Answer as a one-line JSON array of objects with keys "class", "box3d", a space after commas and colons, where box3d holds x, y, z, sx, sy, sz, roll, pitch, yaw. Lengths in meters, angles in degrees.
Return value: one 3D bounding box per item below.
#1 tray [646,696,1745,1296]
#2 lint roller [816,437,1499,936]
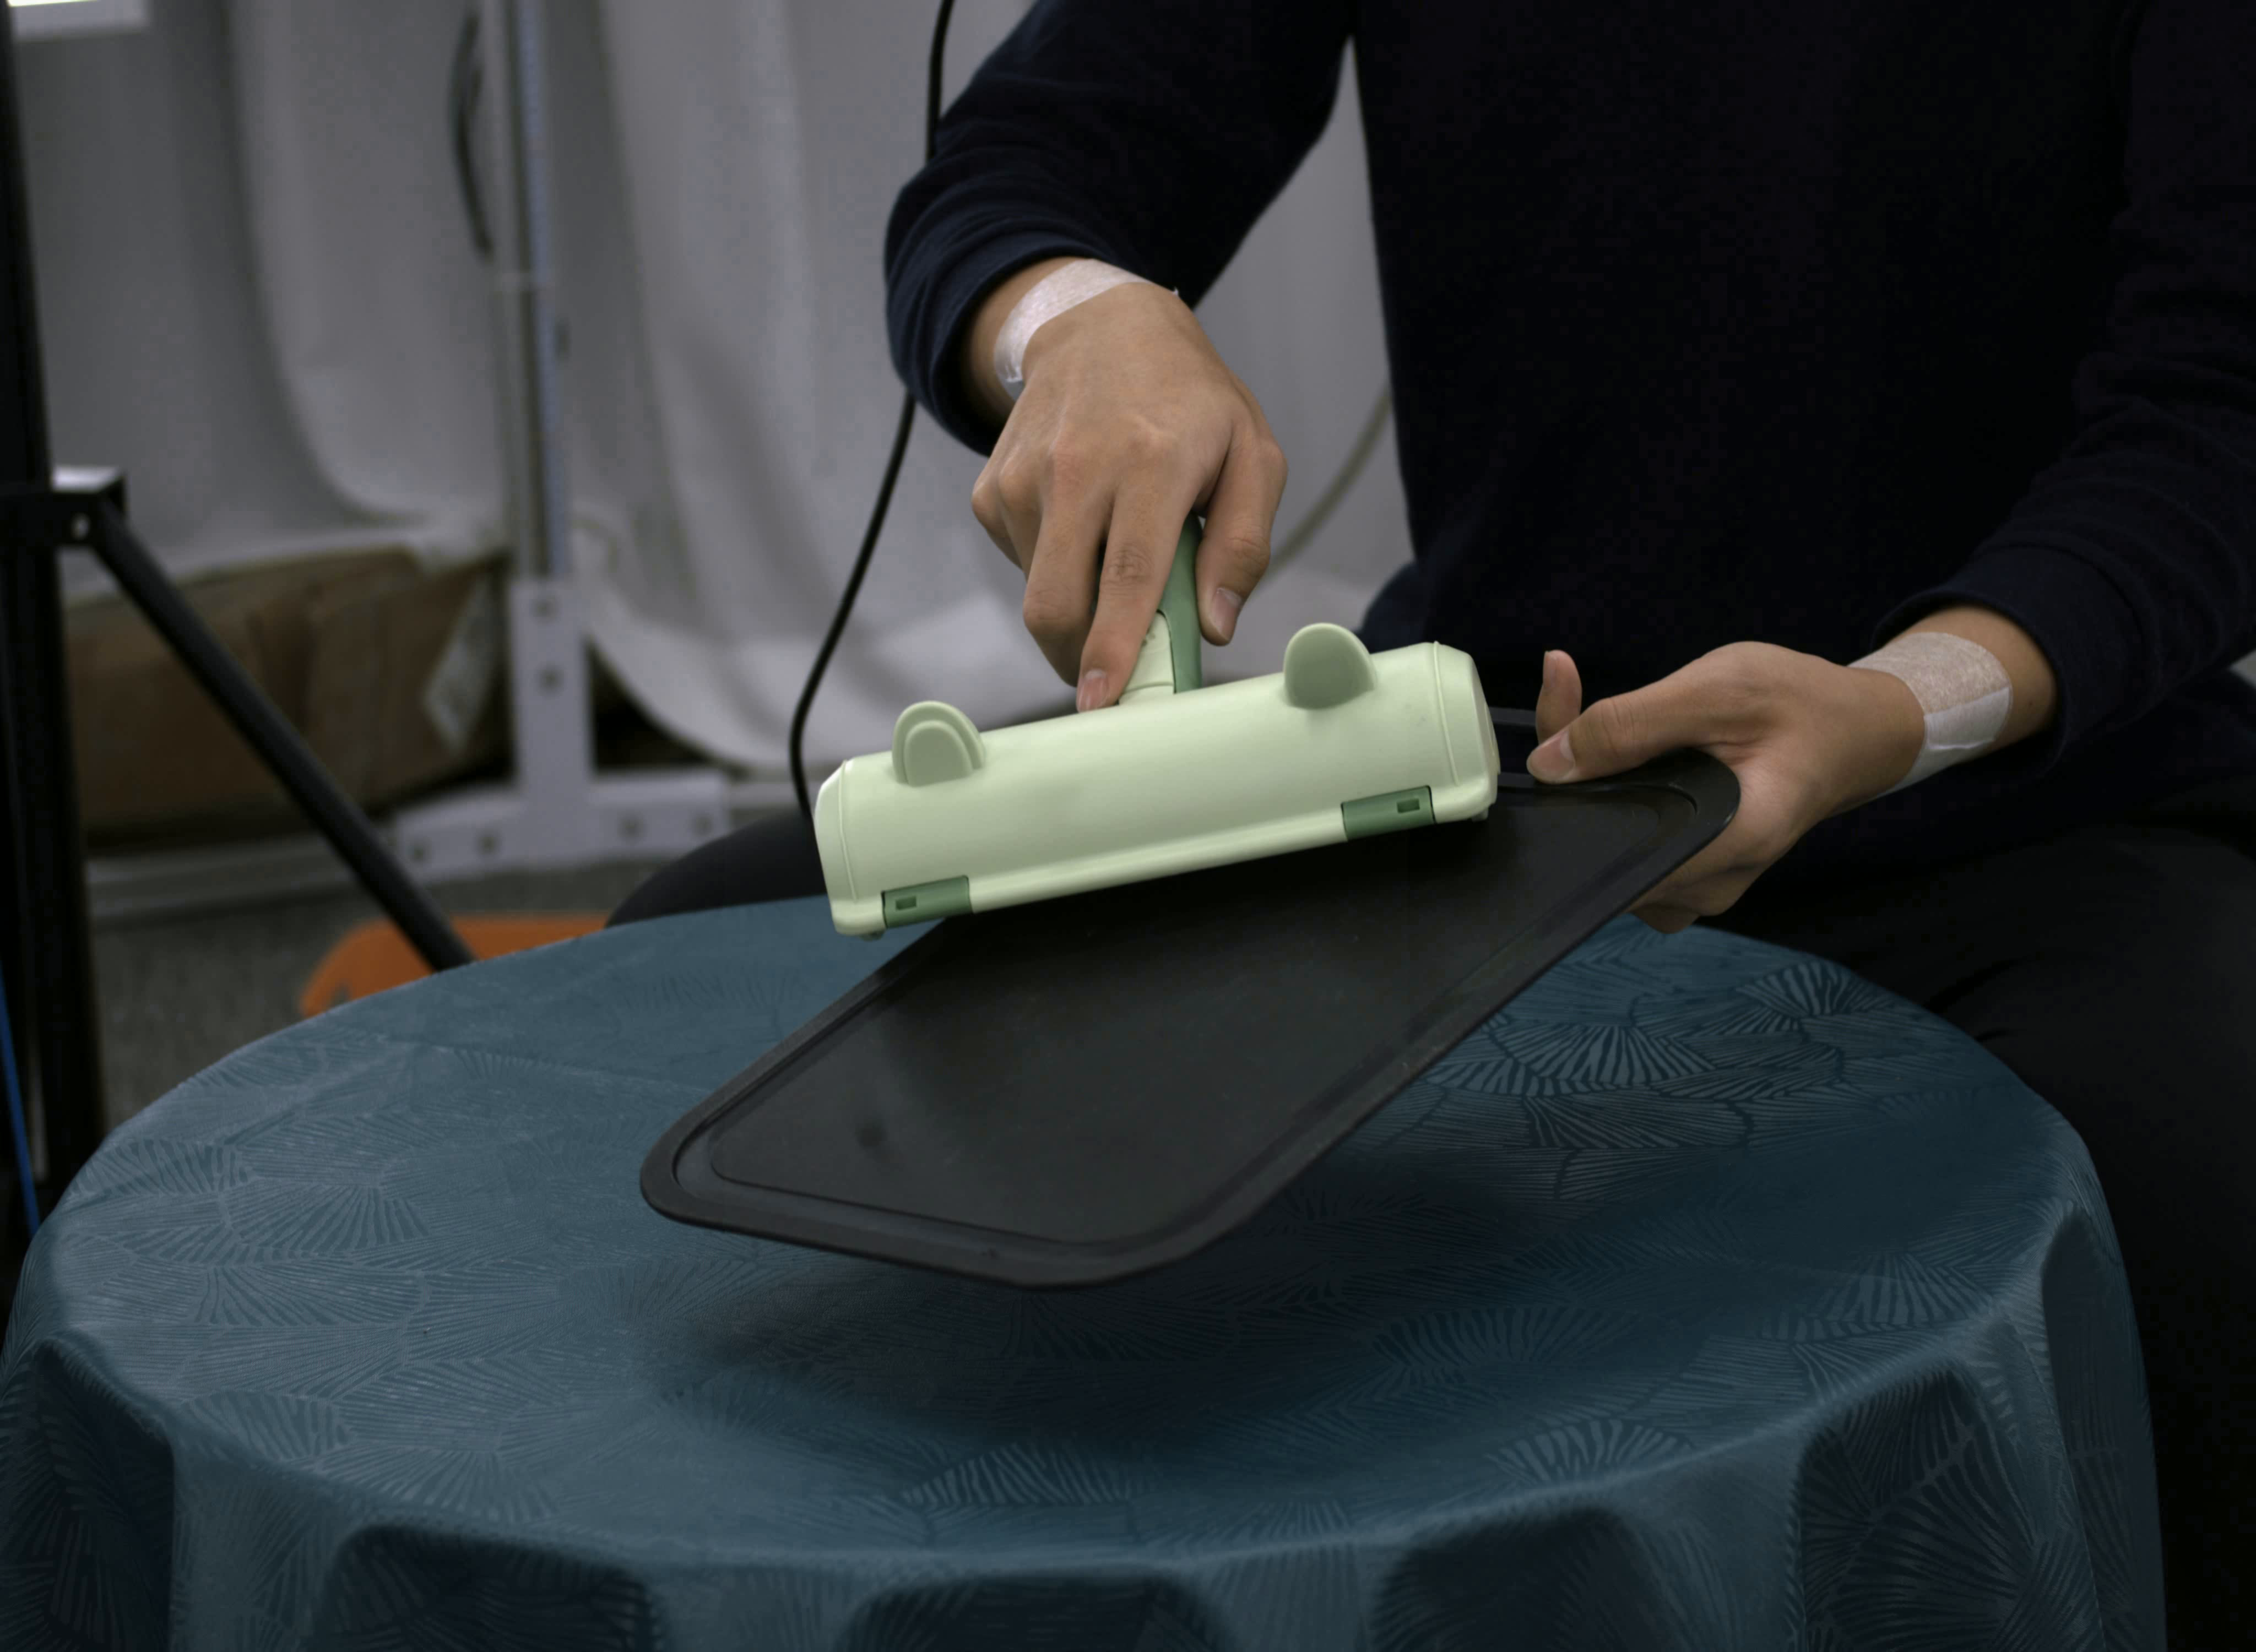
[{"class": "tray", "box3d": [0.026, 0.036, 1.491, 0.216, 0.010, 0.320, 7, 33, 43]}, {"class": "lint roller", "box3d": [0.002, -0.059, 1.568, 0.199, 0.081, 0.186, -12, 54, 9]}]
